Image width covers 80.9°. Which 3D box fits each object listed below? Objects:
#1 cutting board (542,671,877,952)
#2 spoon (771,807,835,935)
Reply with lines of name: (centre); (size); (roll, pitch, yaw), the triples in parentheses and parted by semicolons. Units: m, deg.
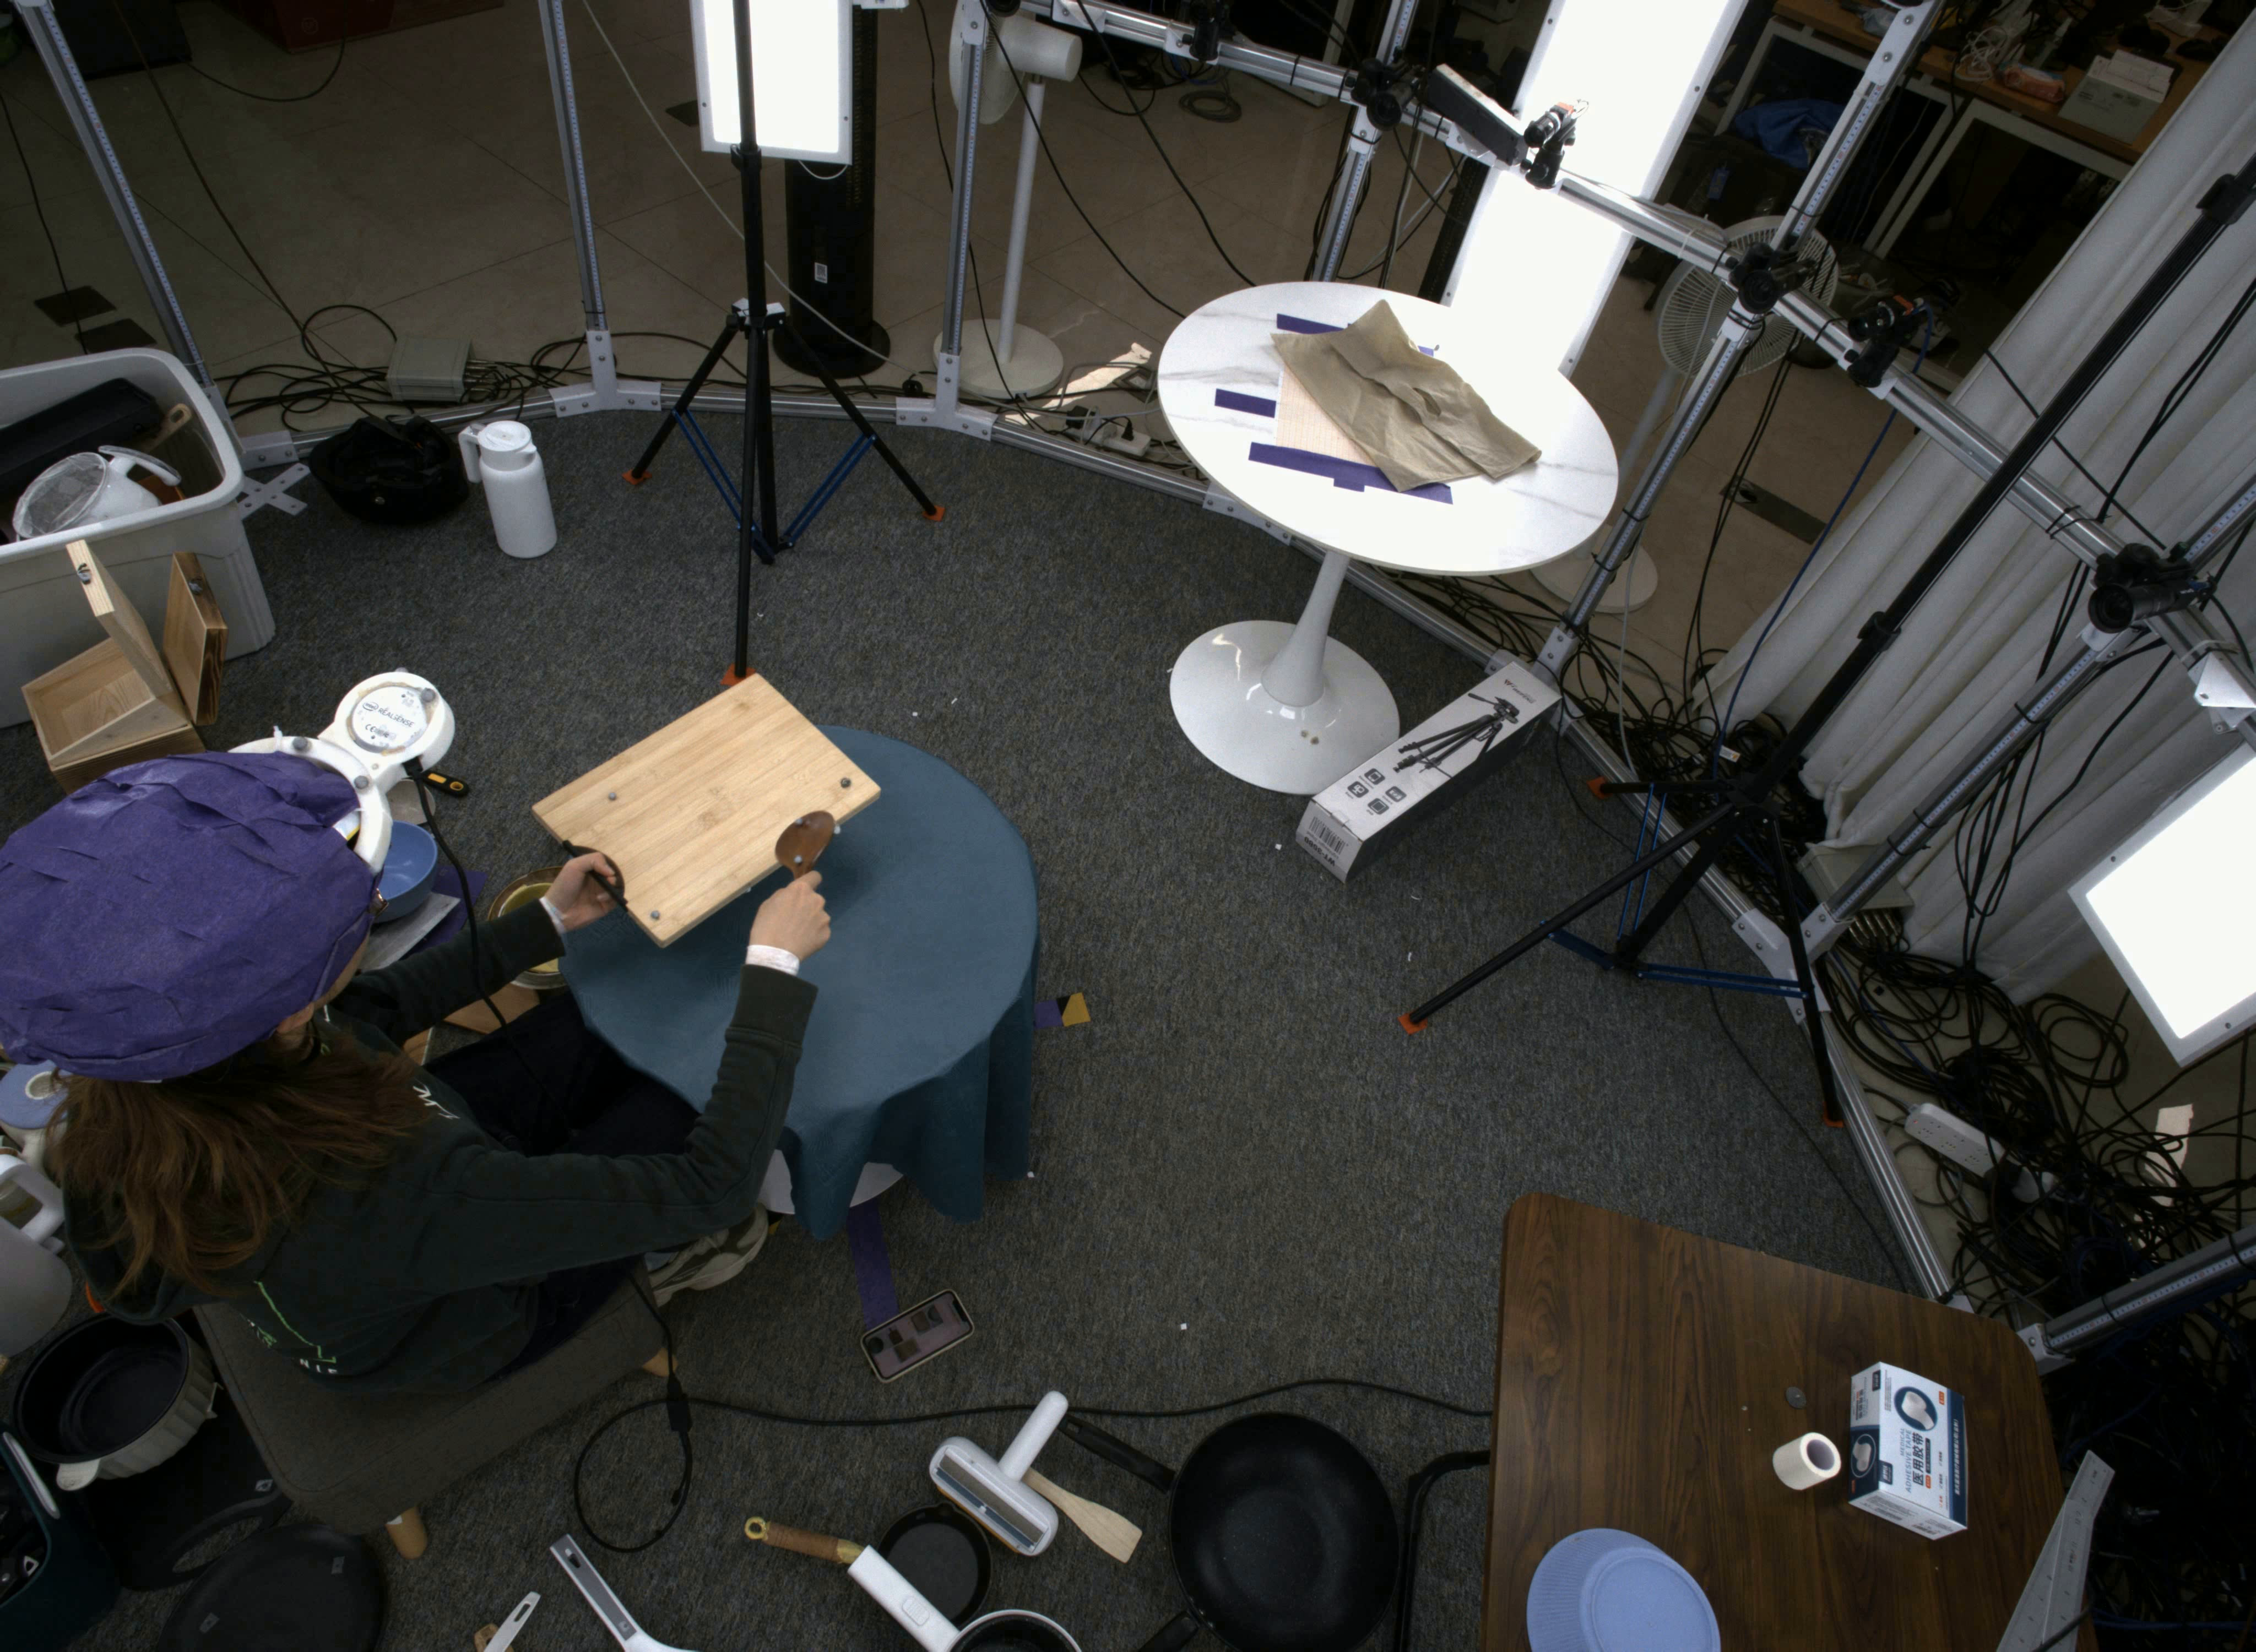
cutting board: (-0.513, -0.029, 1.575); (0.247, 0.024, 0.349); (41, 54, 11)
spoon: (-0.351, 0.044, 1.387); (0.074, 0.018, 0.210); (-19, 34, 4)
